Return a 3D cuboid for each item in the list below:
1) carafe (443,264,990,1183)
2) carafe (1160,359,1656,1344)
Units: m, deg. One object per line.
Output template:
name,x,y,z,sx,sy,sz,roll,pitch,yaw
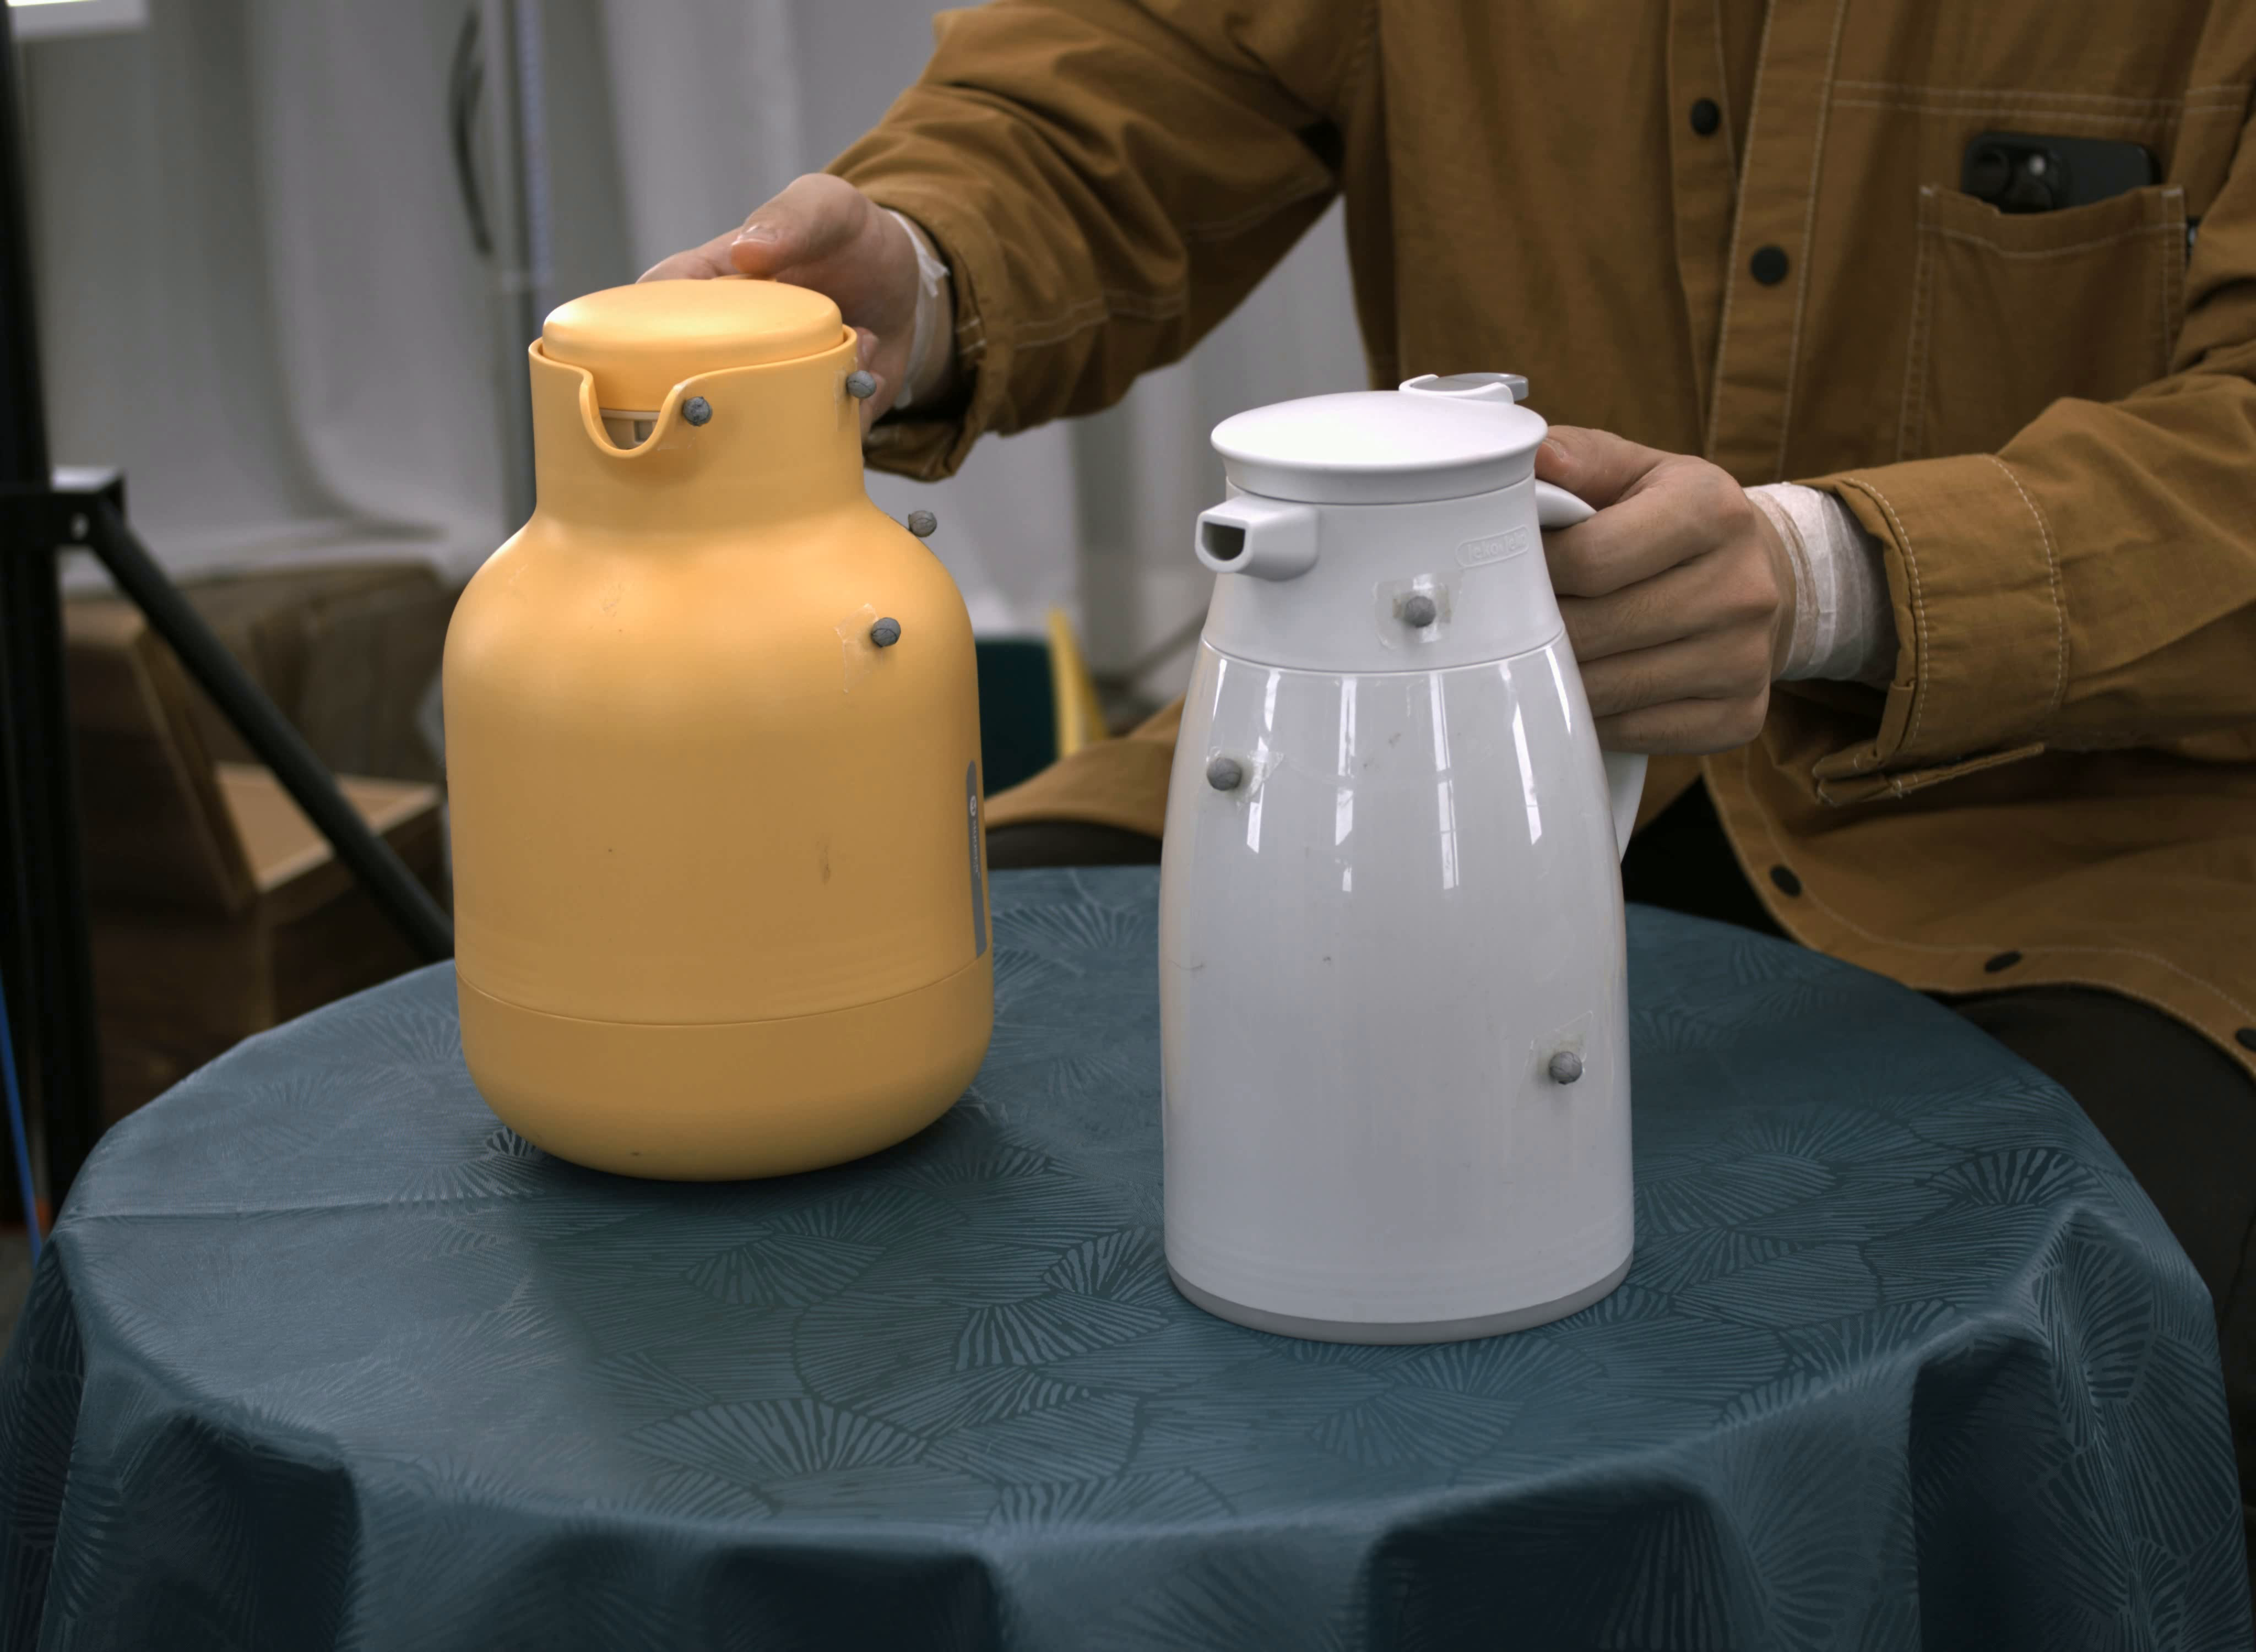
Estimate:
carafe,-0.119,-0.039,1.618,0.164,0.260,0.201,4,17,14
carafe,0.085,-0.001,1.470,0.164,0.248,0.135,-16,21,-42
